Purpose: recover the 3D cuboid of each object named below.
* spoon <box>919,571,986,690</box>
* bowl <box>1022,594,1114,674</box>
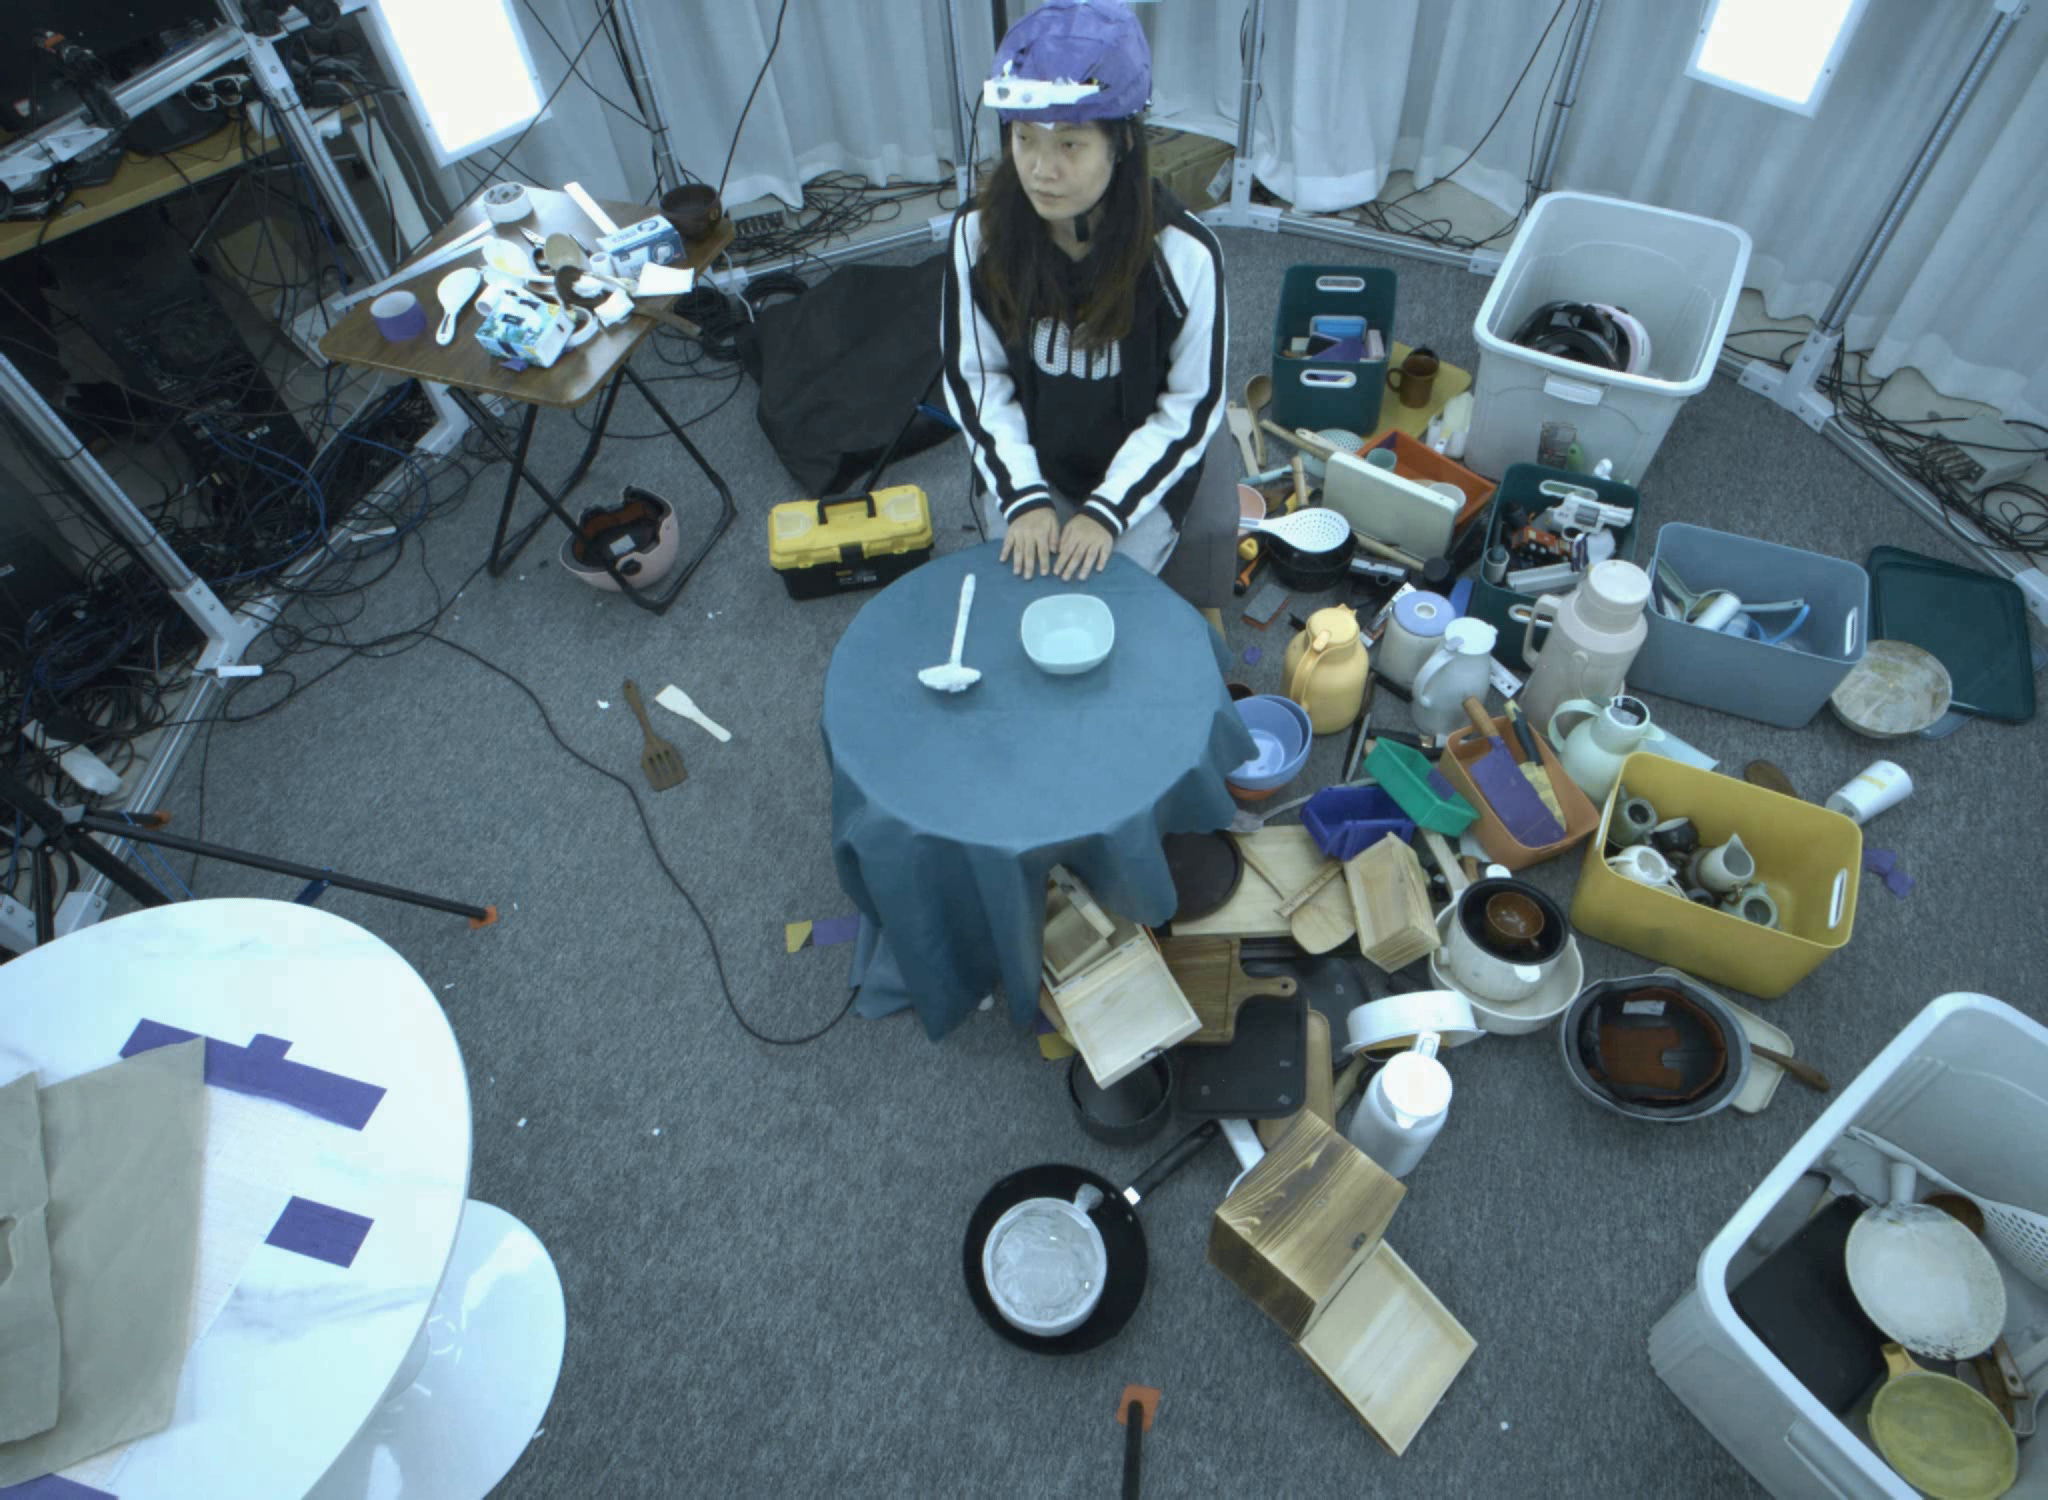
[{"bbox_3d":[-0.093,-0.191,1.891,0.100,0.060,0.275,8,56,3],"label":"spoon"},{"bbox_3d":[0.068,-0.166,1.871,0.151,0.059,0.150,-1,55,2],"label":"bowl"}]
